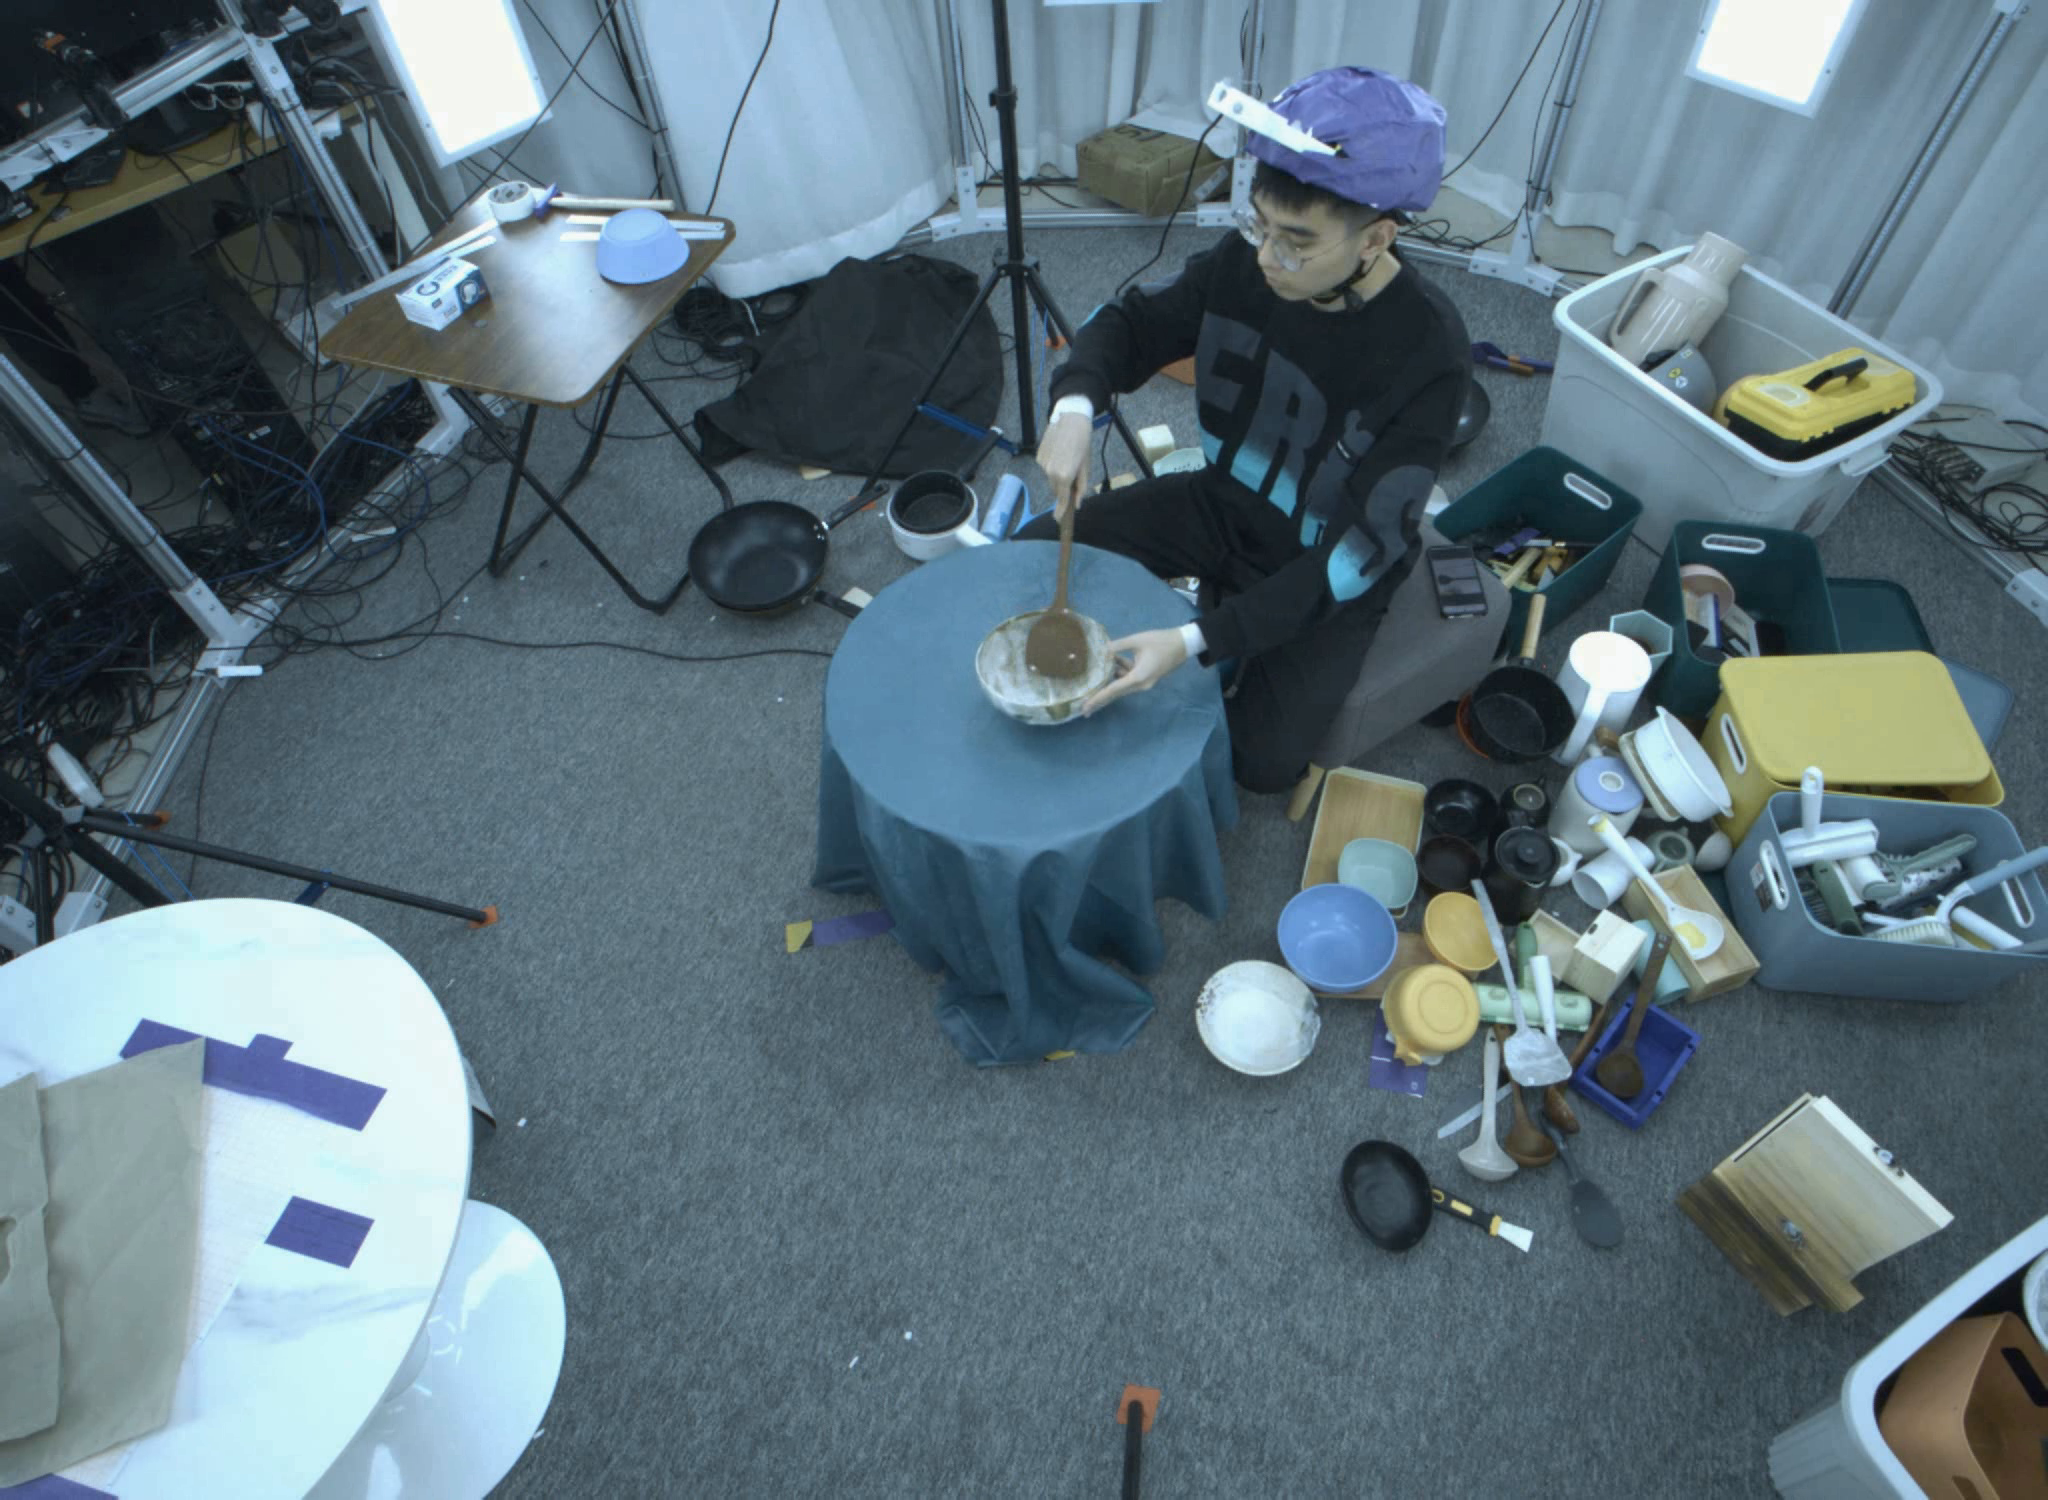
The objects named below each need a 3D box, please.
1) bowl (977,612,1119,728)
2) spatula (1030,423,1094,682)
[{"bbox_3d":[0.039,-0.101,1.803,0.214,0.096,0.212,-1,47,3],"label":"bowl"},{"bbox_3d":[0.065,-0.293,1.807,0.097,0.015,0.386,2,96,-10],"label":"spatula"}]
